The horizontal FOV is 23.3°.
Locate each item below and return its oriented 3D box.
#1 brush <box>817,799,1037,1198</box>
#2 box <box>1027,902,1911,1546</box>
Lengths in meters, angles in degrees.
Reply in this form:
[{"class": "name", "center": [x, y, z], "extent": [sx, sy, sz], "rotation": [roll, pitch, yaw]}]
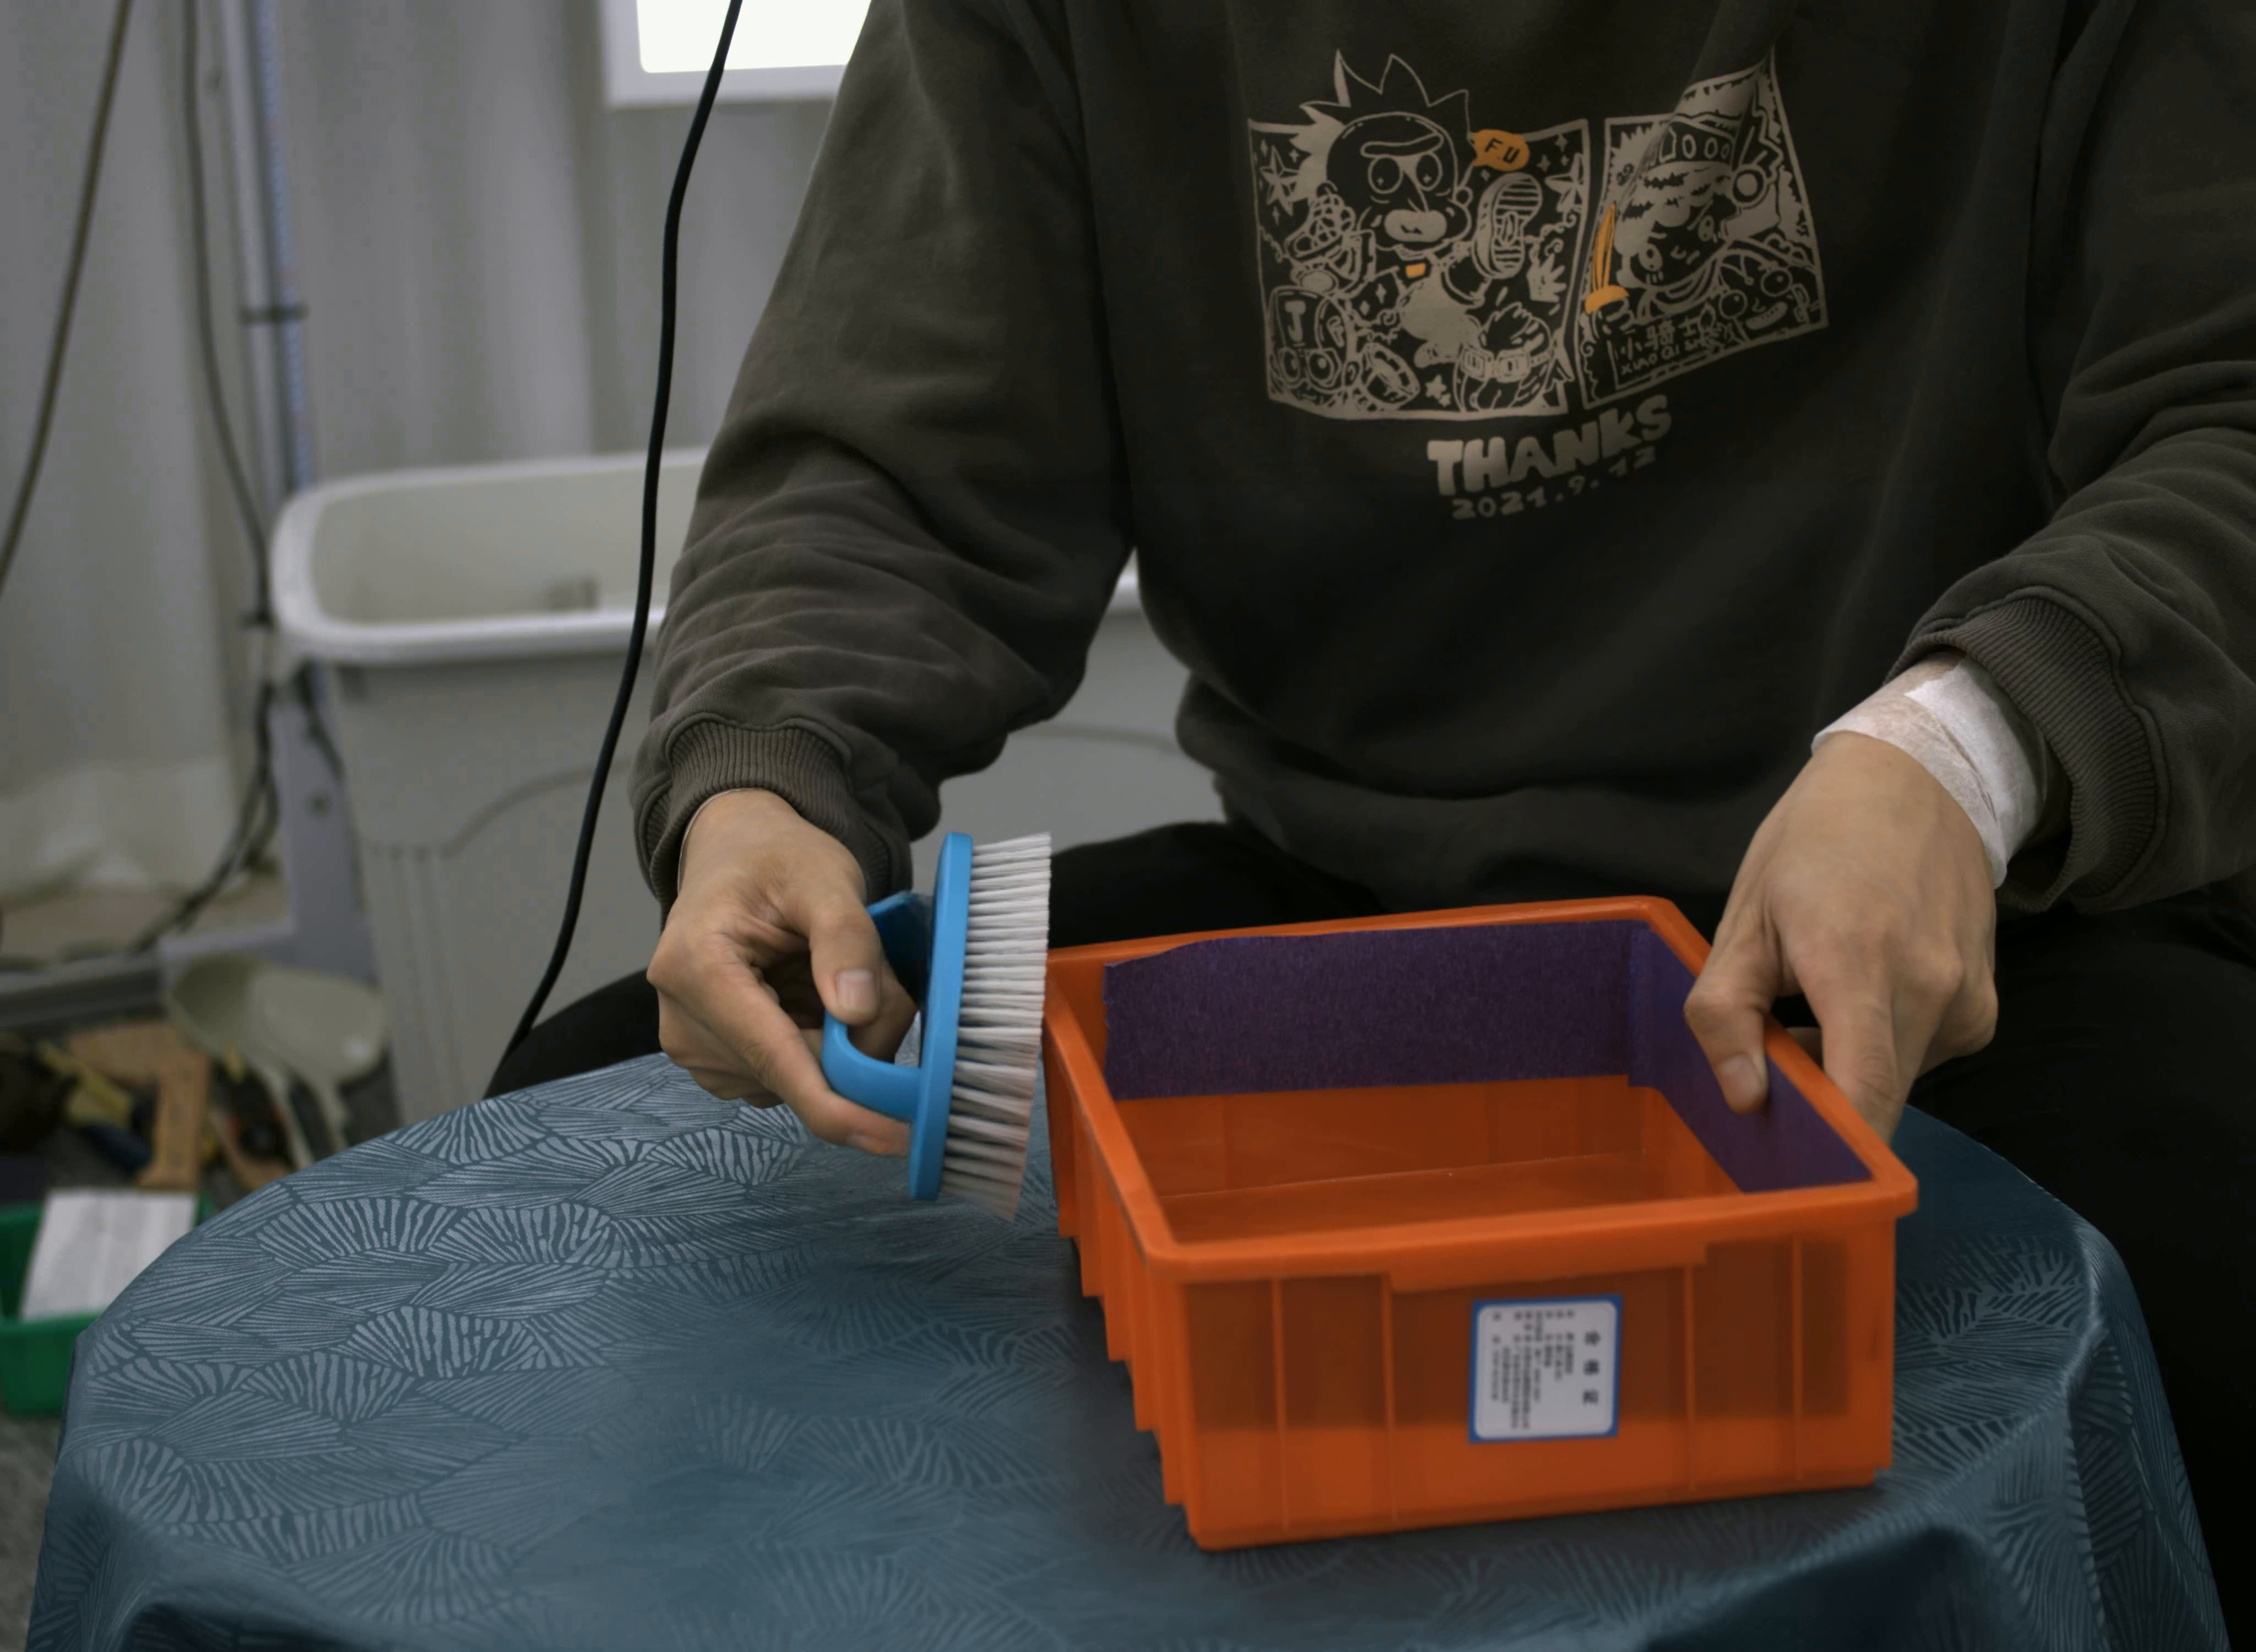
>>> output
[{"class": "brush", "center": [-0.061, 0.053, 1.654], "extent": [0.063, 0.083, 0.144], "rotation": [4, 38, -1]}, {"class": "box", "center": [0.088, 0.109, 1.563], "extent": [0.206, 0.096, 0.306], "rotation": [-5, 15, -6]}]
